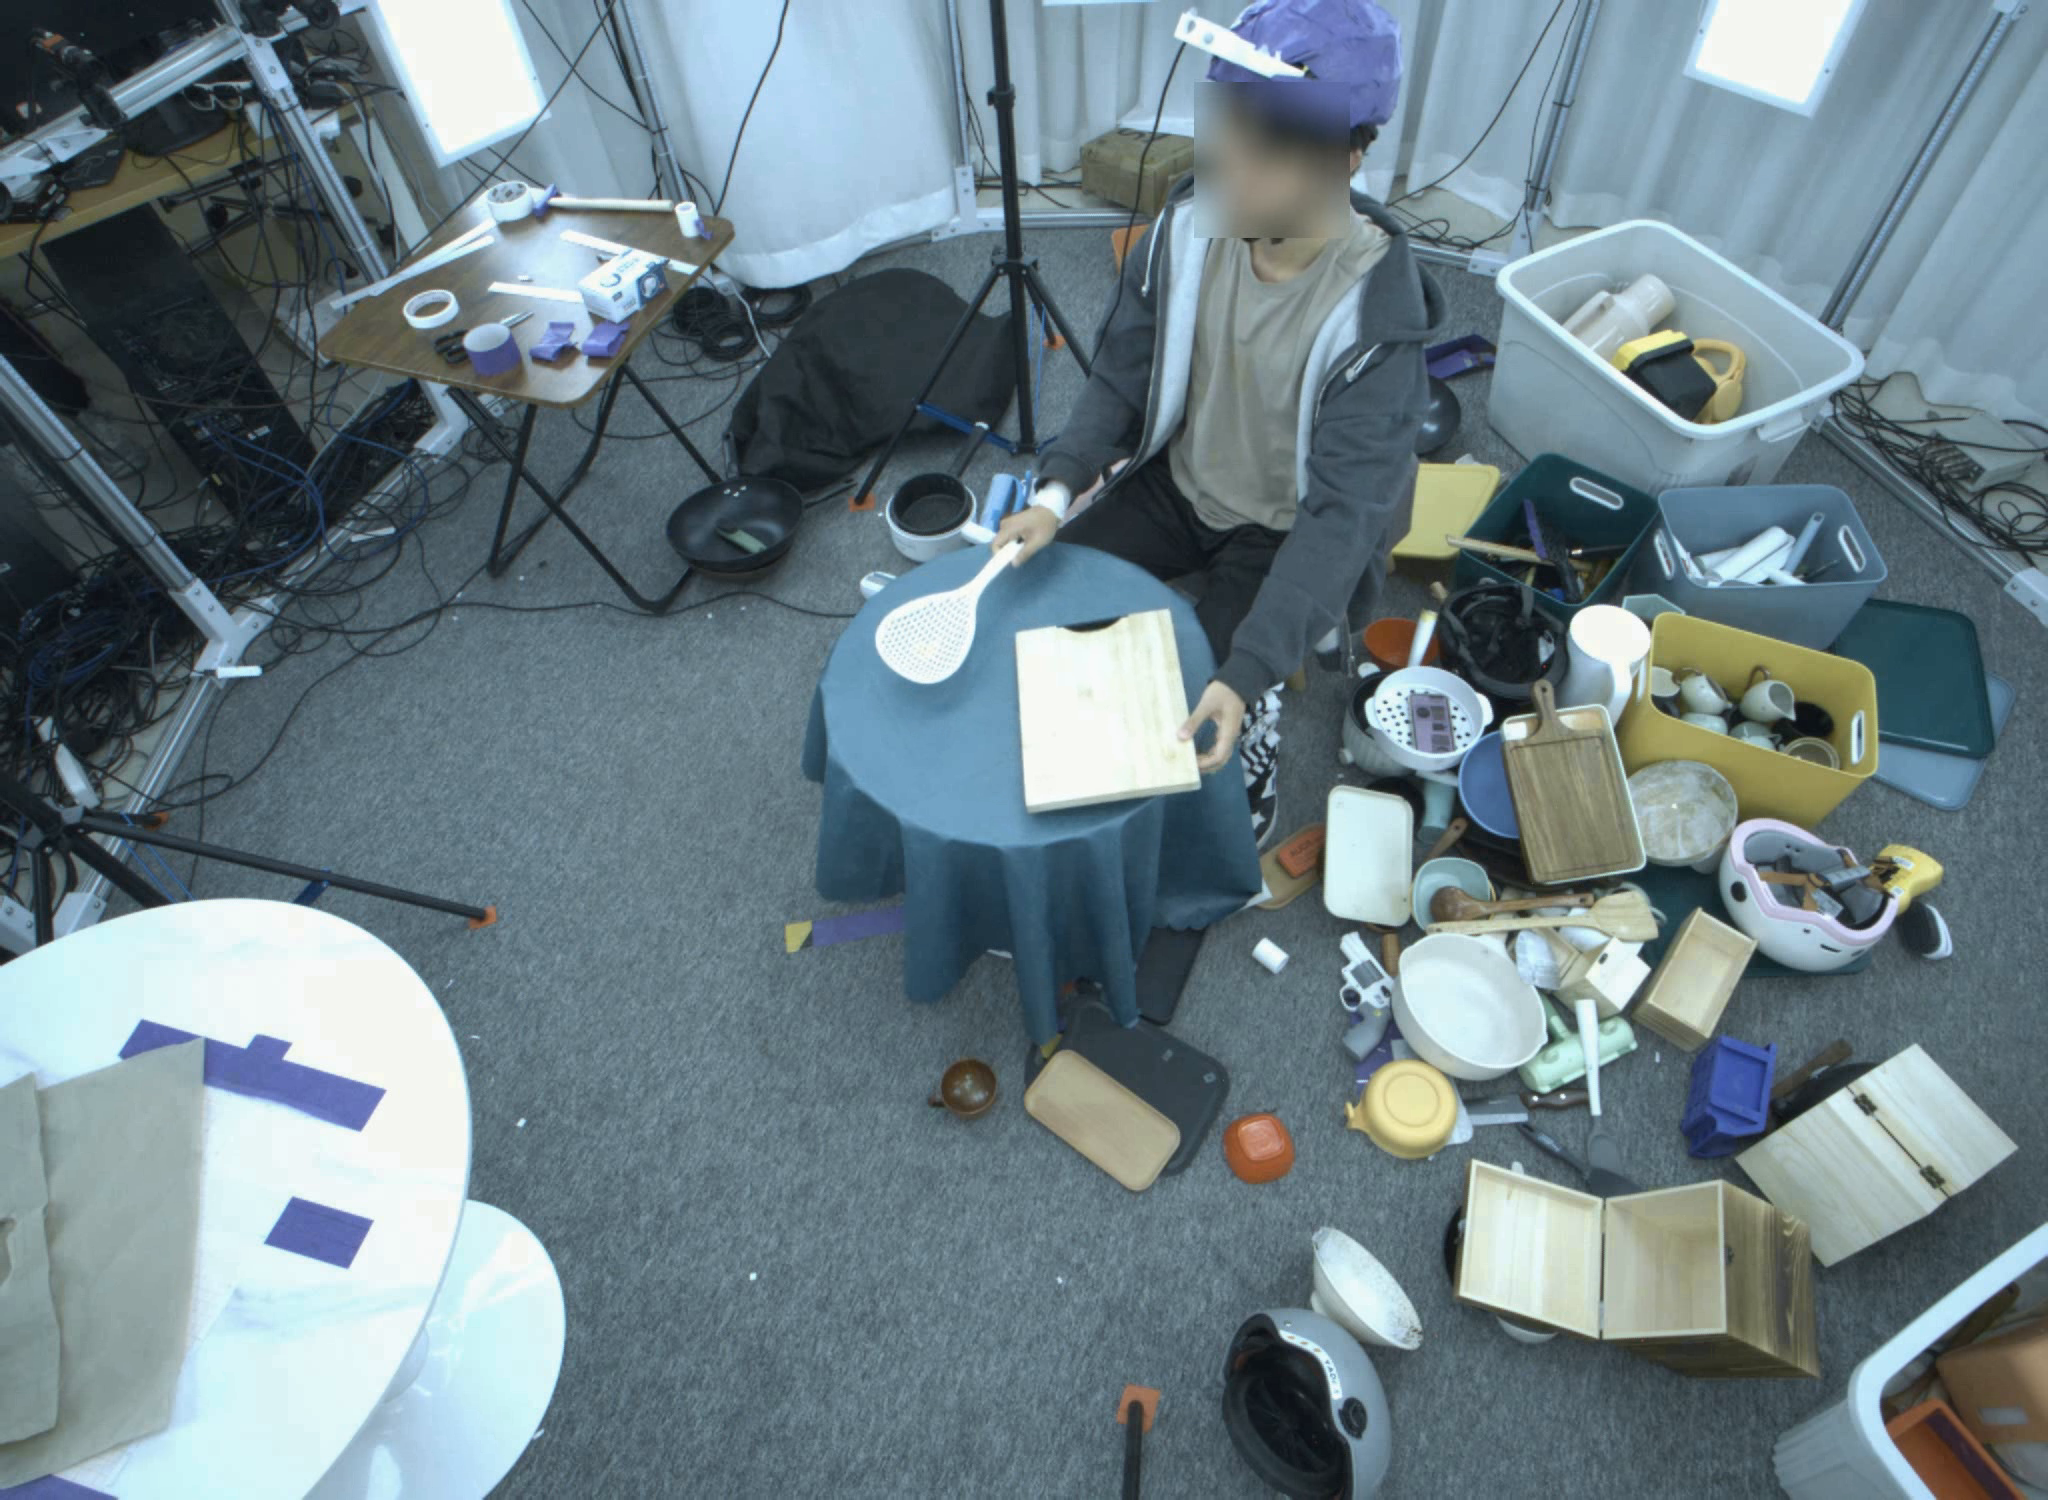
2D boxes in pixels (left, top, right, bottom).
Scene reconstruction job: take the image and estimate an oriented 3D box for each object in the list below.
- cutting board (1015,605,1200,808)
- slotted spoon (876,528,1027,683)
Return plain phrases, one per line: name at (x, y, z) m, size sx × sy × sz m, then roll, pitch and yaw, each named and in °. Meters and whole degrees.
cutting board at (0.114, -0.068, 1.796) m, size 0.250 × 0.024 × 0.344 m, roll -8°, pitch 50°, yaw 3°
slotted spoon at (-0.090, -0.233, 1.883) m, size 0.136 × 0.050 × 0.349 m, roll 35°, pitch 67°, yaw 6°
